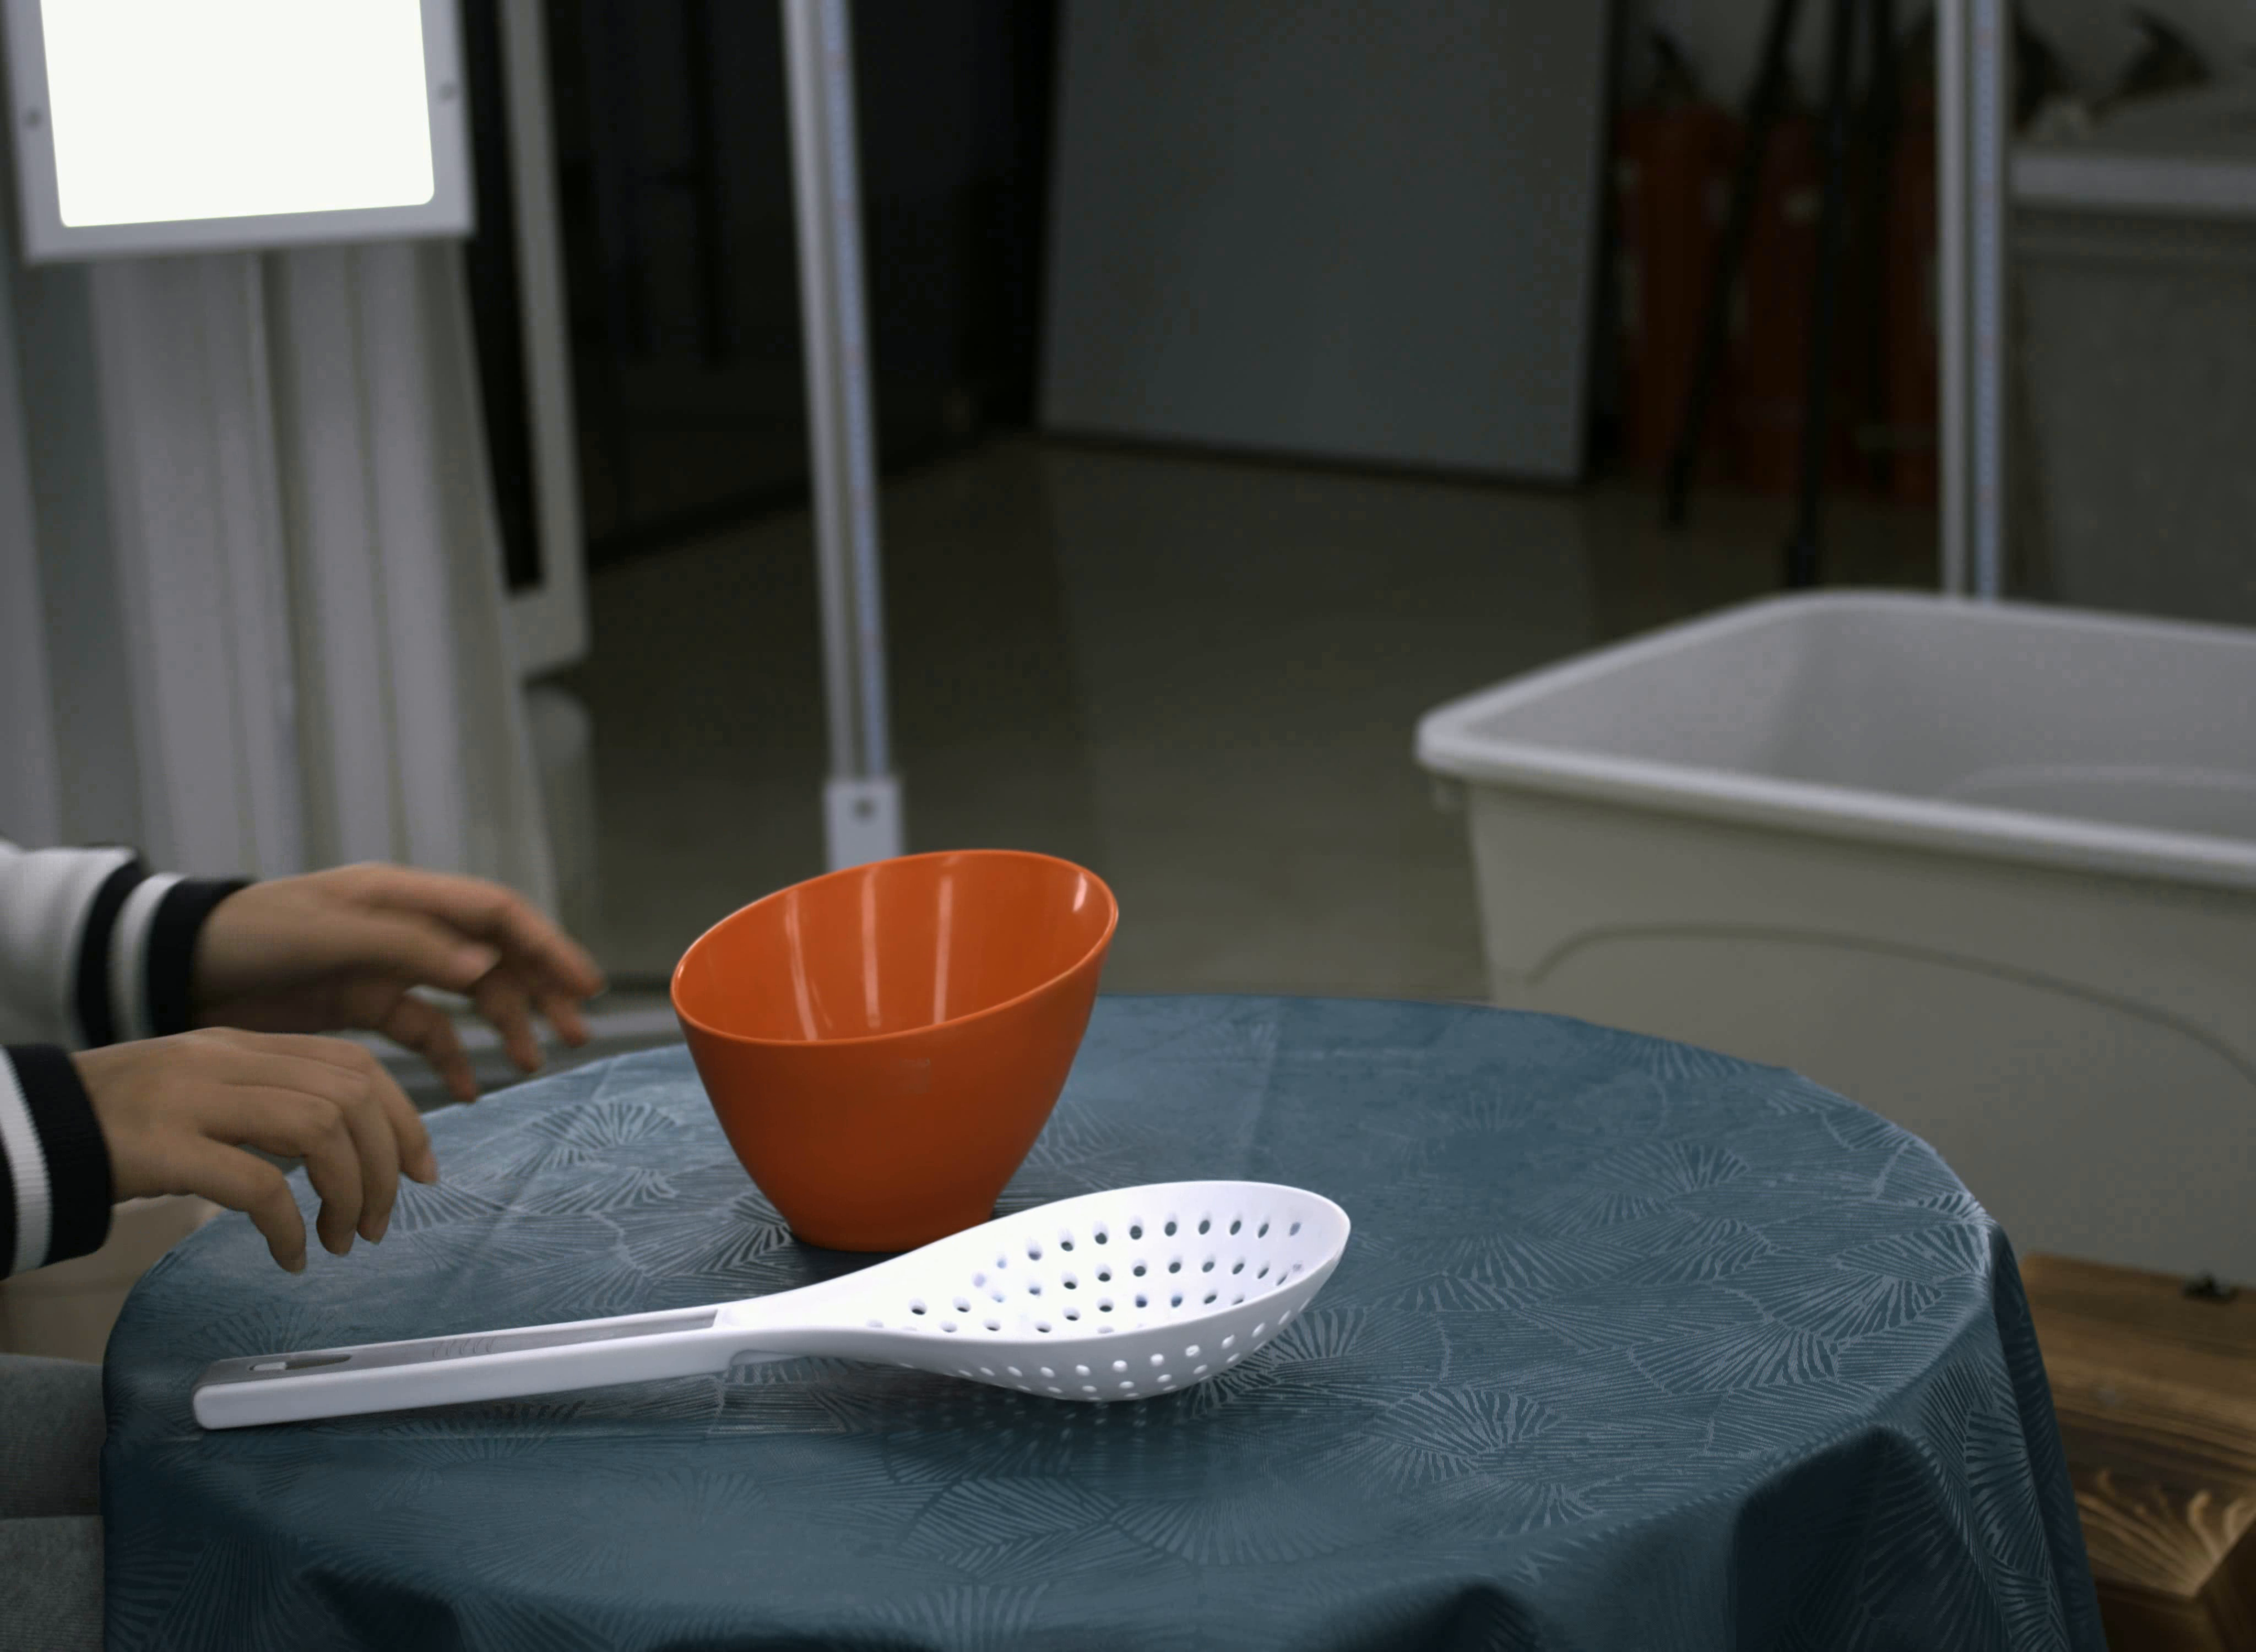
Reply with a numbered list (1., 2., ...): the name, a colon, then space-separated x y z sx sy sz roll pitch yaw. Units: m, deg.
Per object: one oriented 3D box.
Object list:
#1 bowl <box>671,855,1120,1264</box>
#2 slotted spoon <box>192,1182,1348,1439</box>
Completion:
1. bowl: -0.073 0.079 1.752 0.146 0.106 0.148 -3 16 0
2. slotted spoon: -0.106 0.149 1.594 0.346 0.046 0.136 -3 13 5
